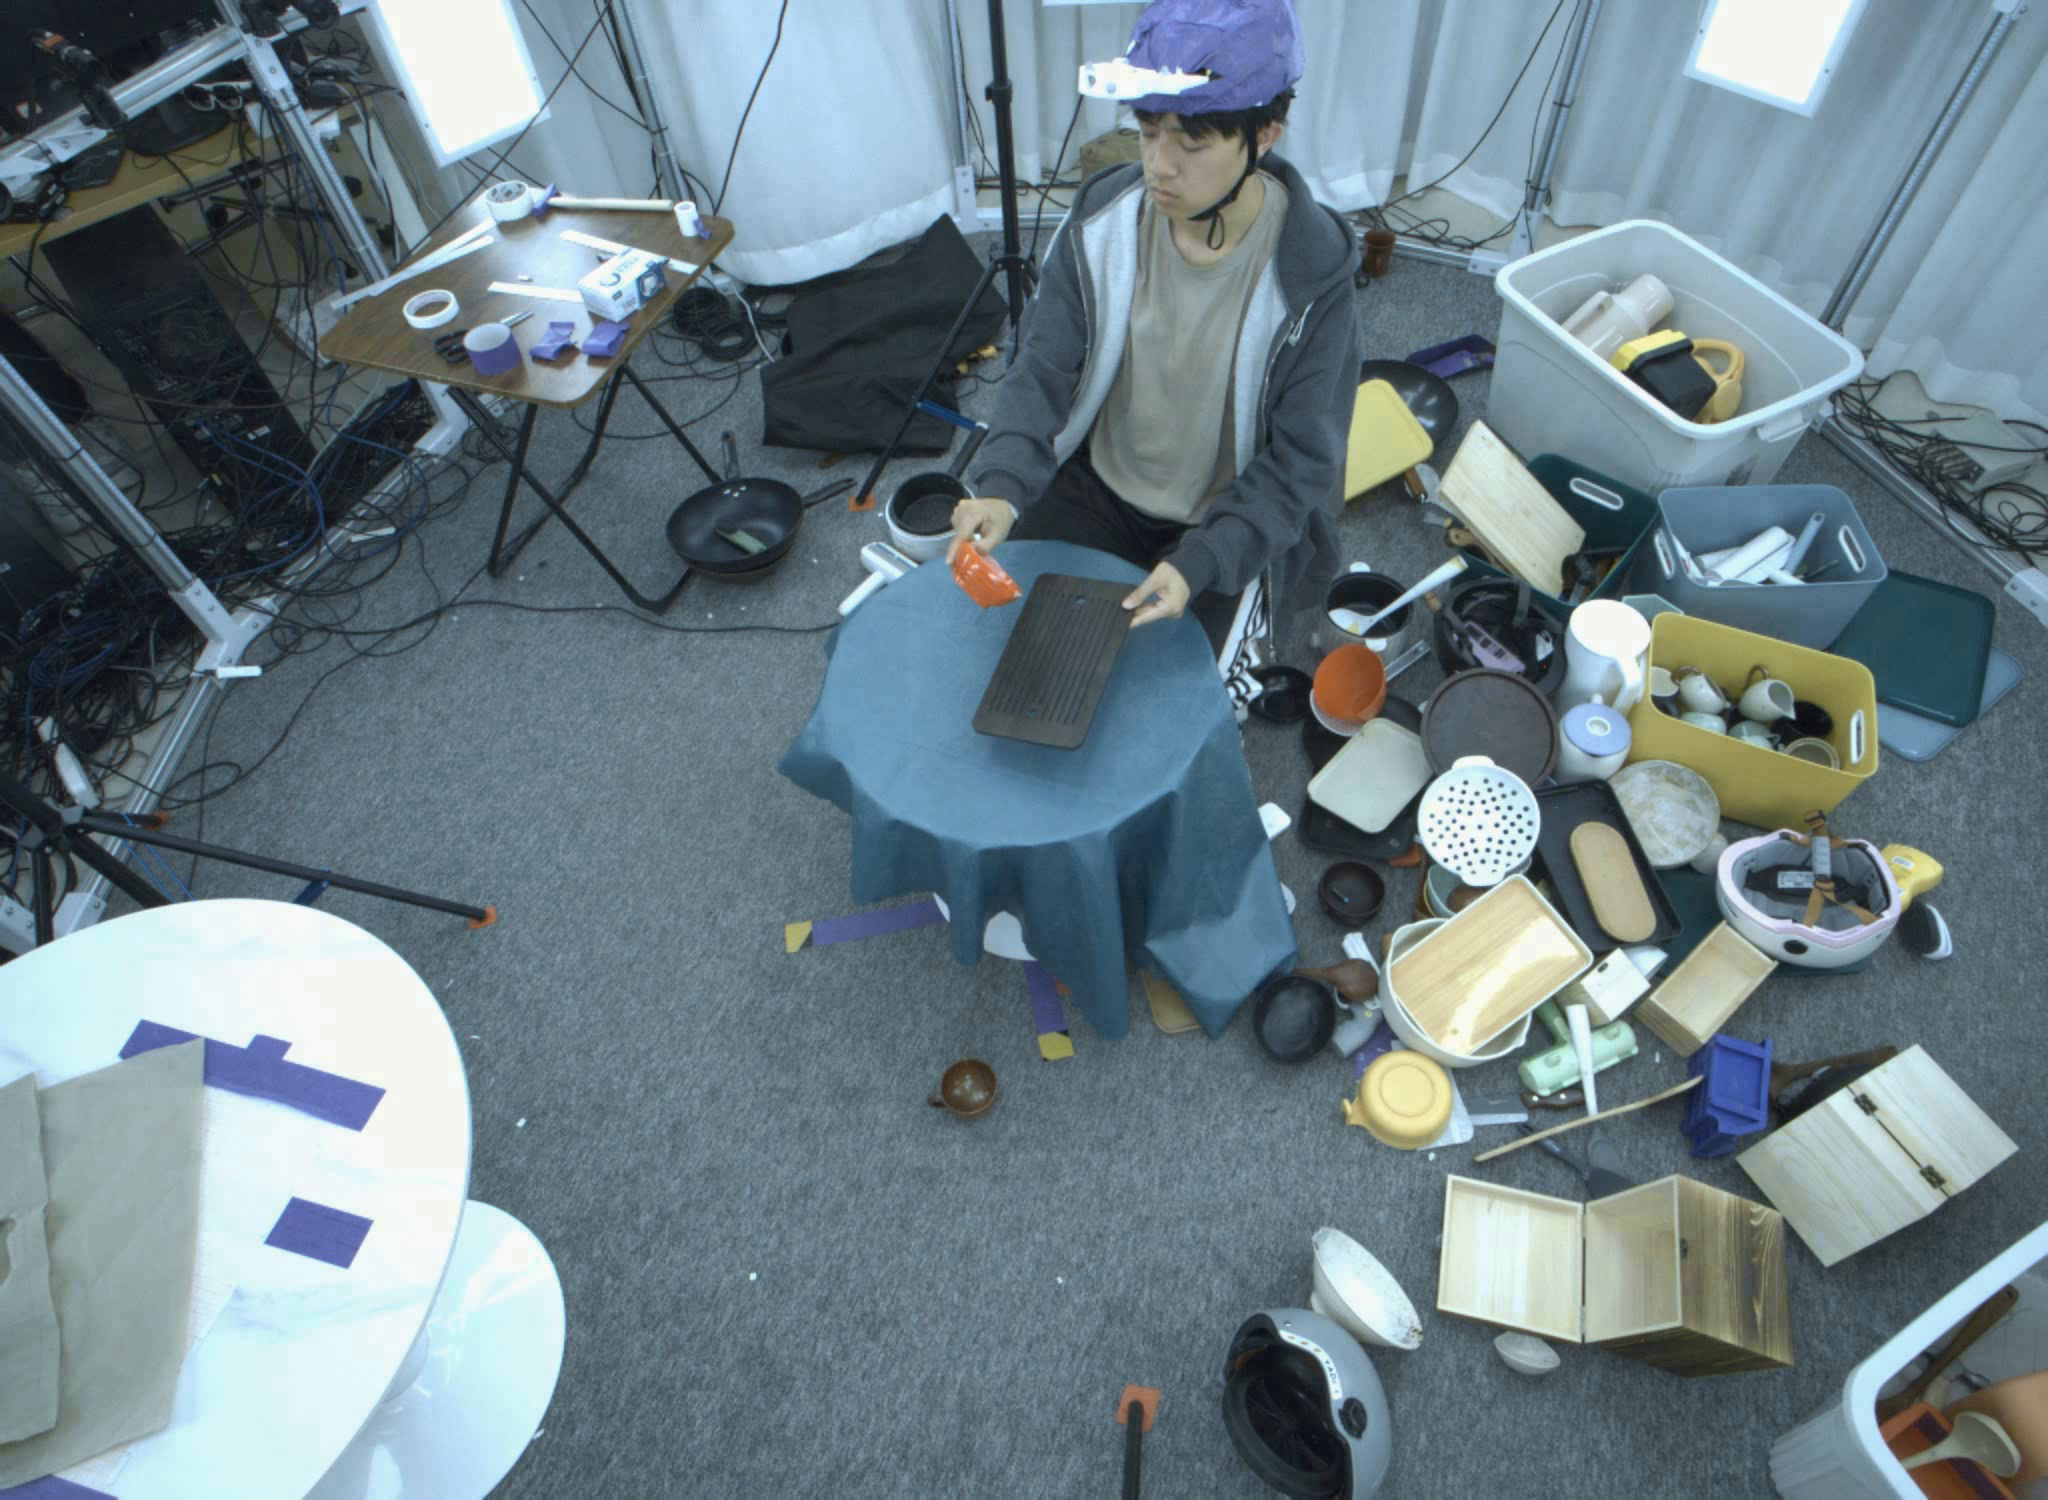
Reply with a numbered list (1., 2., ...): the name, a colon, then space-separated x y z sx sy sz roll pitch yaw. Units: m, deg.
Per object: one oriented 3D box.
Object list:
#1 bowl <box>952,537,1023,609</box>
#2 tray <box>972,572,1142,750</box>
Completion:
1. bowl: -0.058 -0.238 1.695 0.051 0.121 0.116 -45 59 12
2. tray: 0.053 -0.134 1.796 0.168 0.019 0.305 11 59 19
